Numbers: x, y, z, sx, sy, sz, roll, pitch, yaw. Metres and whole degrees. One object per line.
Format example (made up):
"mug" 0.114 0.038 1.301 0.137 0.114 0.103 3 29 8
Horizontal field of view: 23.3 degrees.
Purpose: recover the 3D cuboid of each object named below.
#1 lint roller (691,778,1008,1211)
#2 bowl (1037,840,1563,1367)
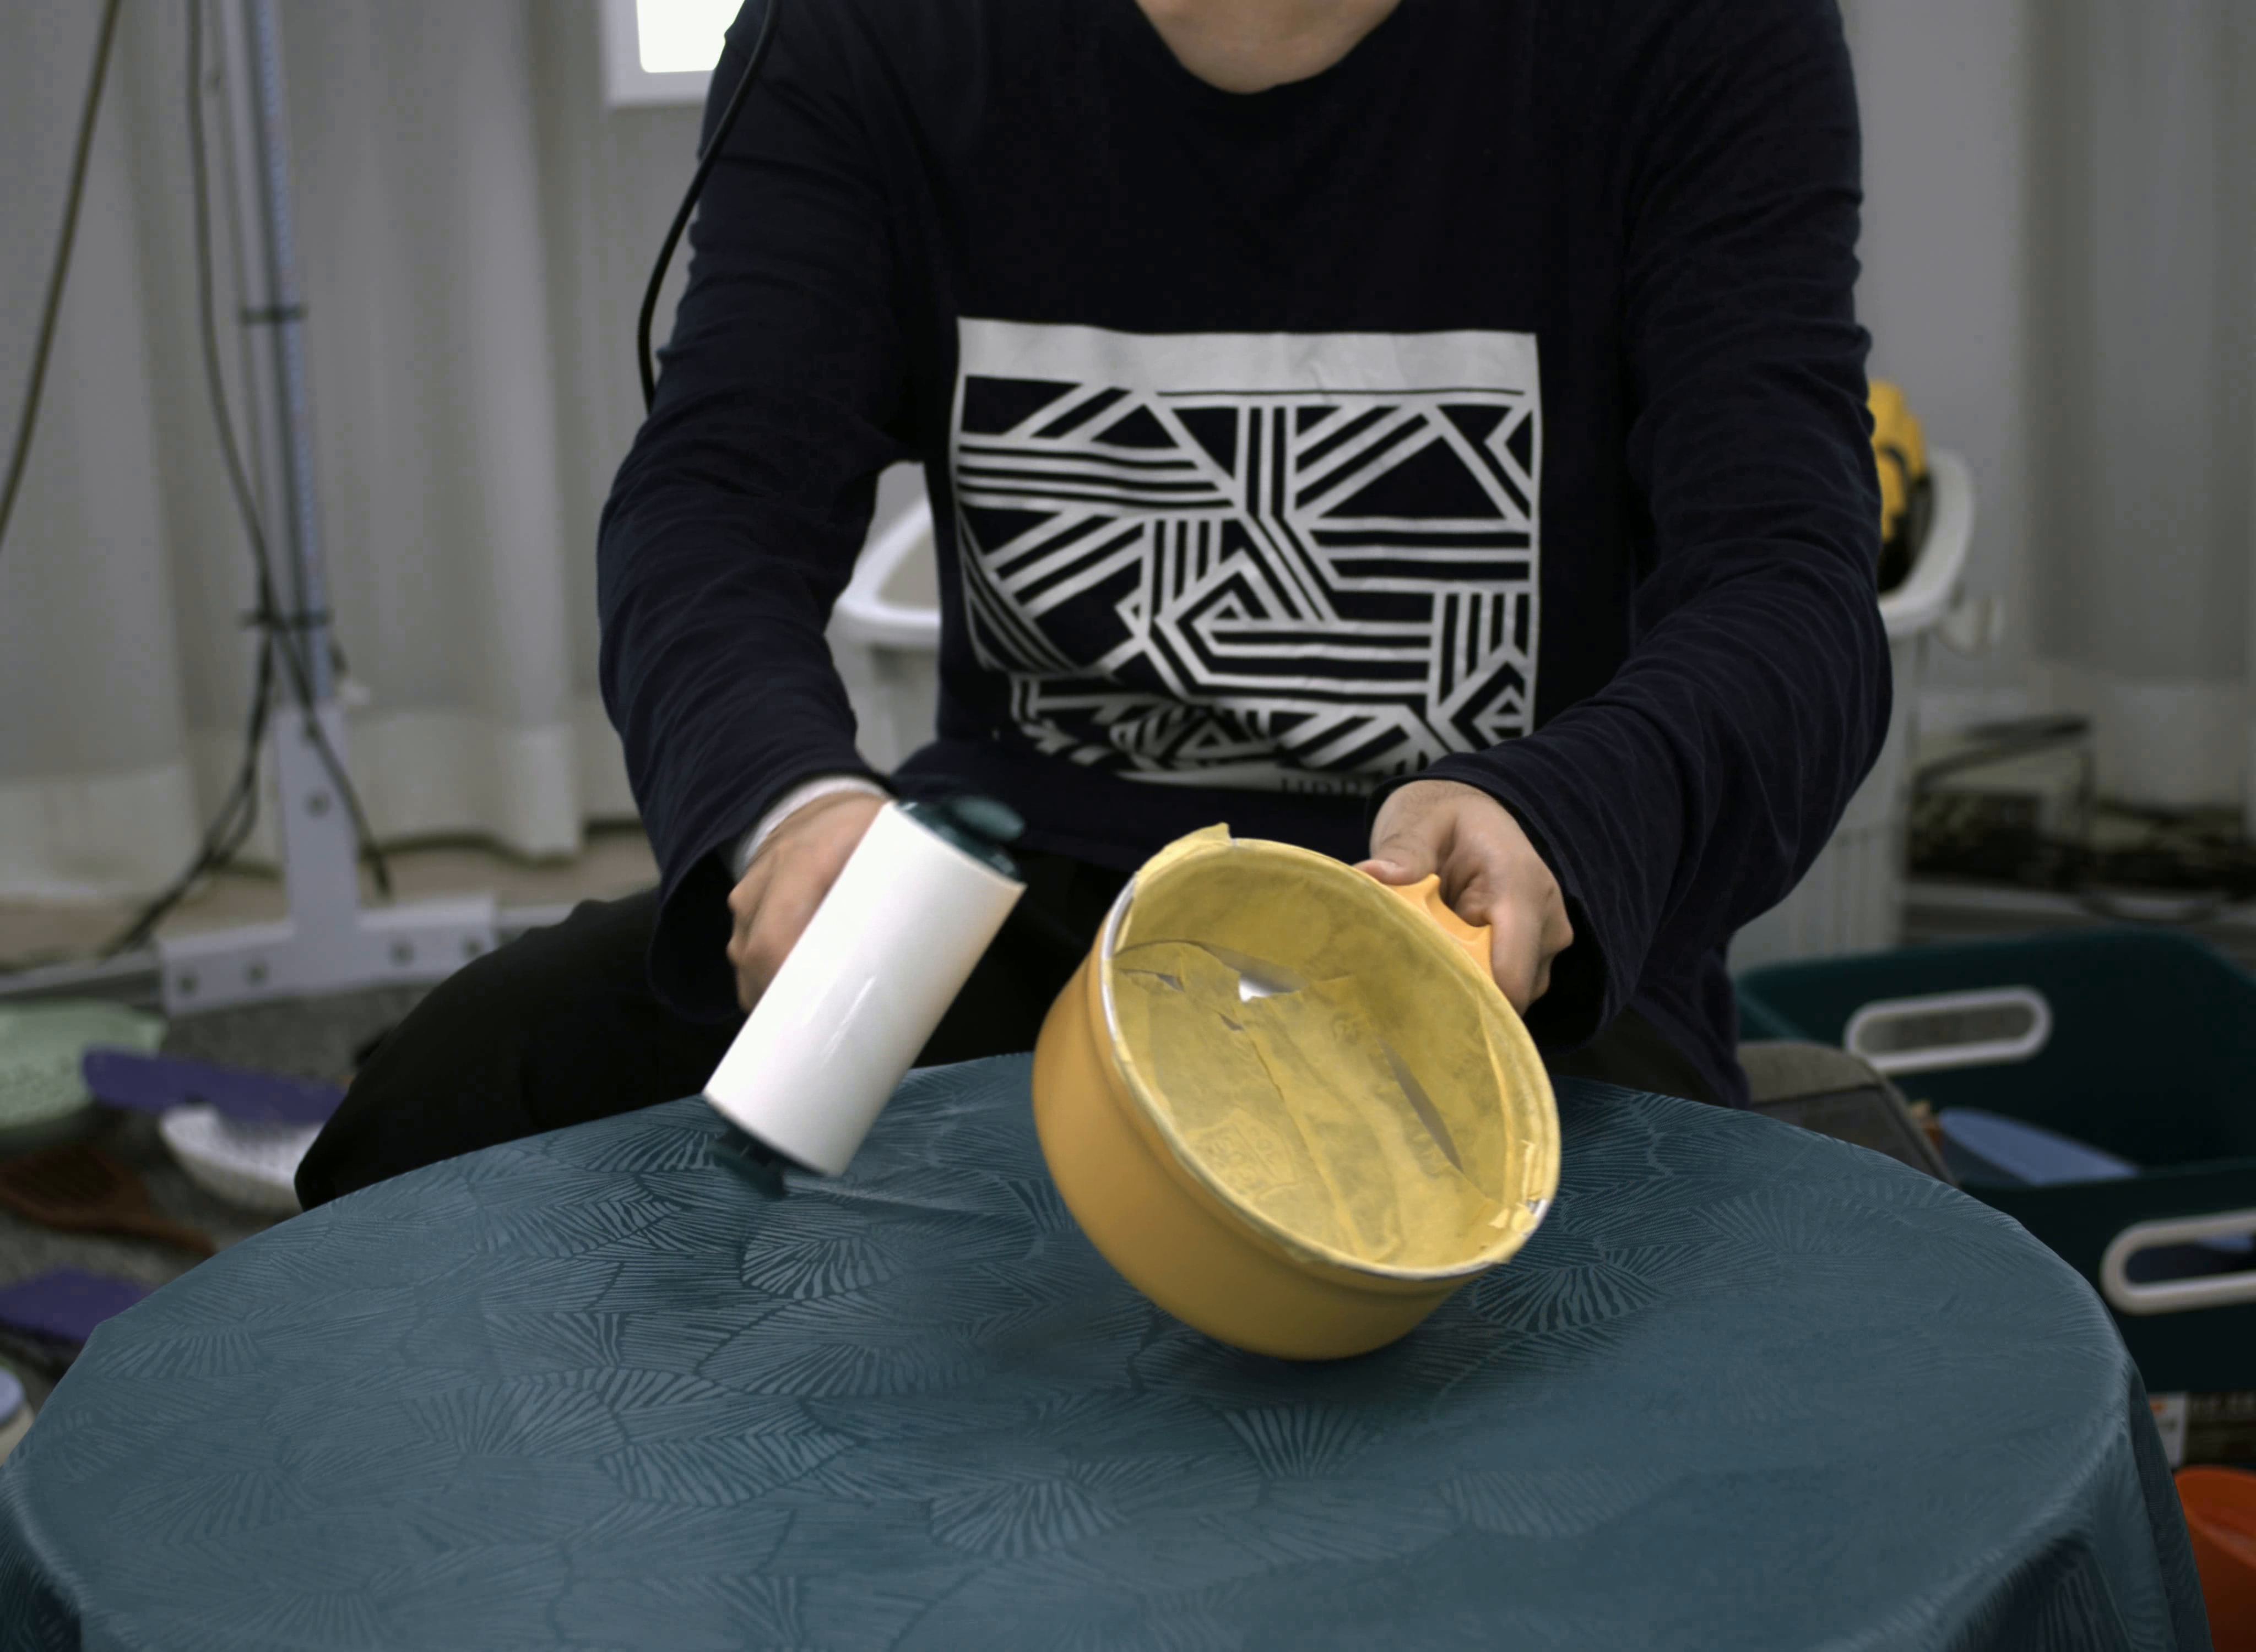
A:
"lint roller" -0.087 0.043 1.637 0.048 0.134 0.180 32 1 -9
"bowl" 0.051 0.079 1.586 0.153 0.074 0.181 36 39 -1
